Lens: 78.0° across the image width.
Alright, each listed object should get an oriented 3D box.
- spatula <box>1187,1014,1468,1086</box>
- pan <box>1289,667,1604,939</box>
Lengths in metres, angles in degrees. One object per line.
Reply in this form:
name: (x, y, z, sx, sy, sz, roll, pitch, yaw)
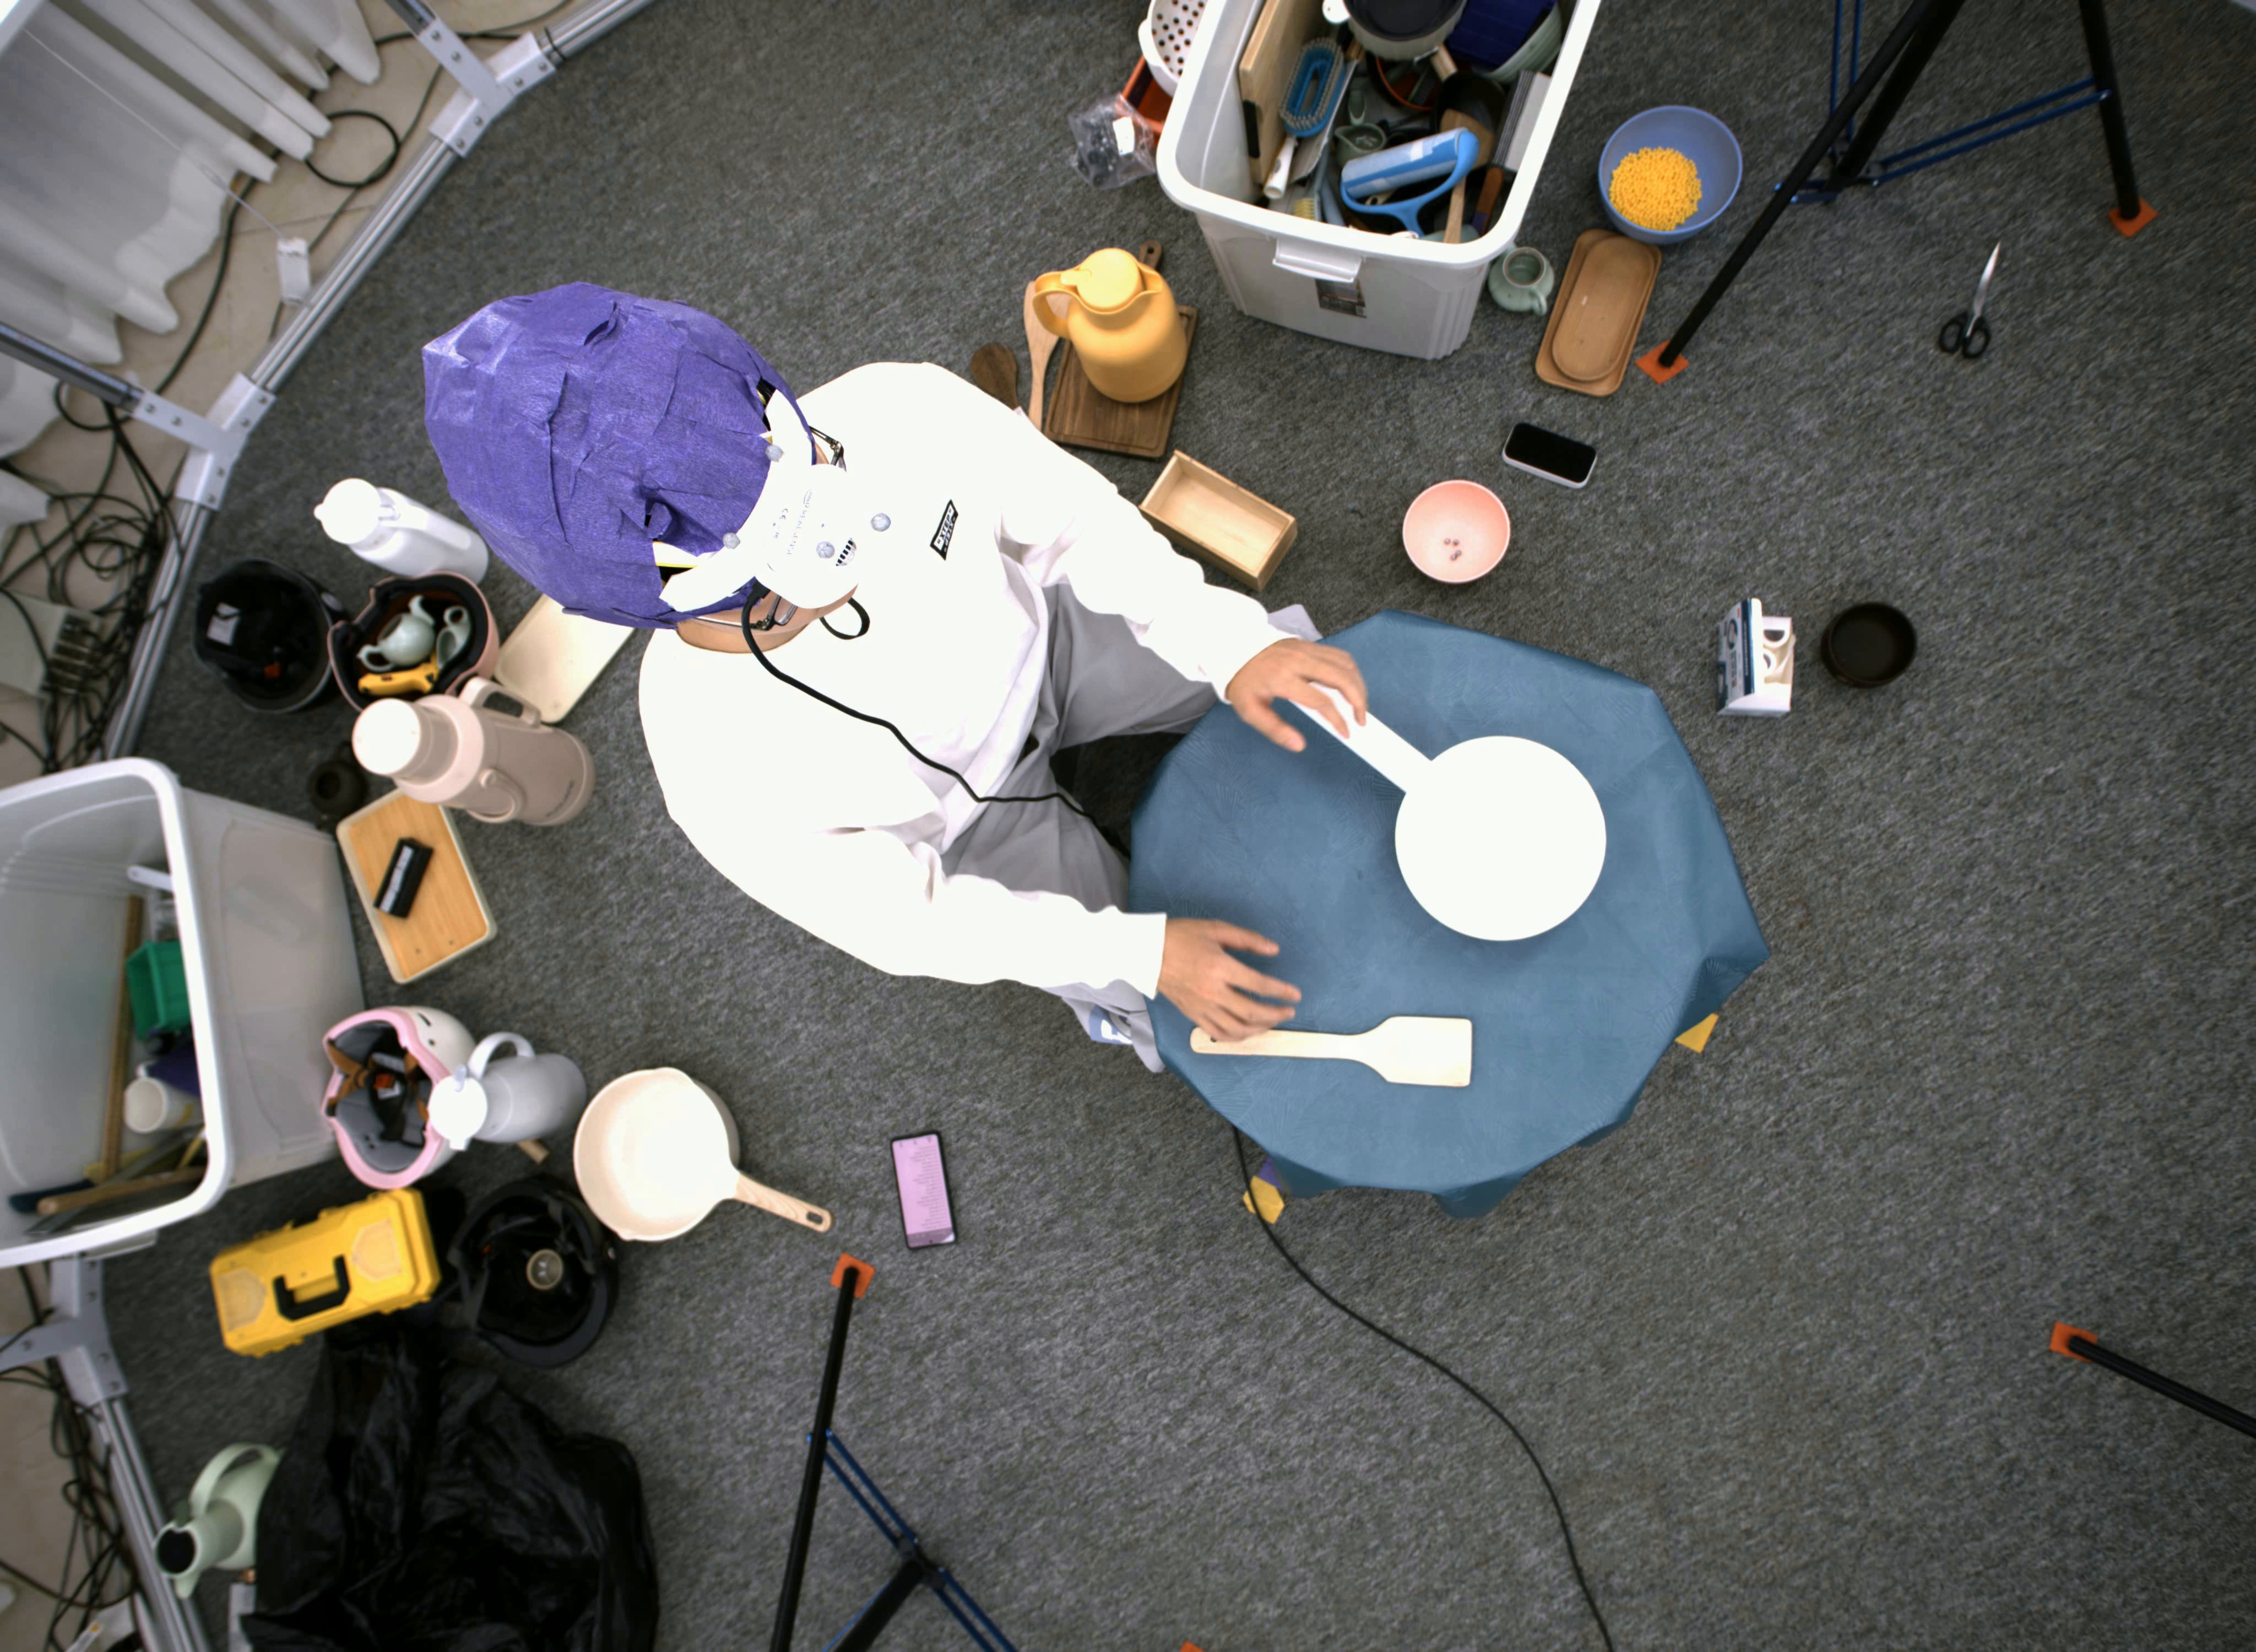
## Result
spatula: (0.208, 0.229, 1.458, 0.294, 0.010, 0.072, 1, 89, 11)
pan: (0.315, -0.034, 1.409, 0.353, 0.102, 0.202, 39, 95, 12)
